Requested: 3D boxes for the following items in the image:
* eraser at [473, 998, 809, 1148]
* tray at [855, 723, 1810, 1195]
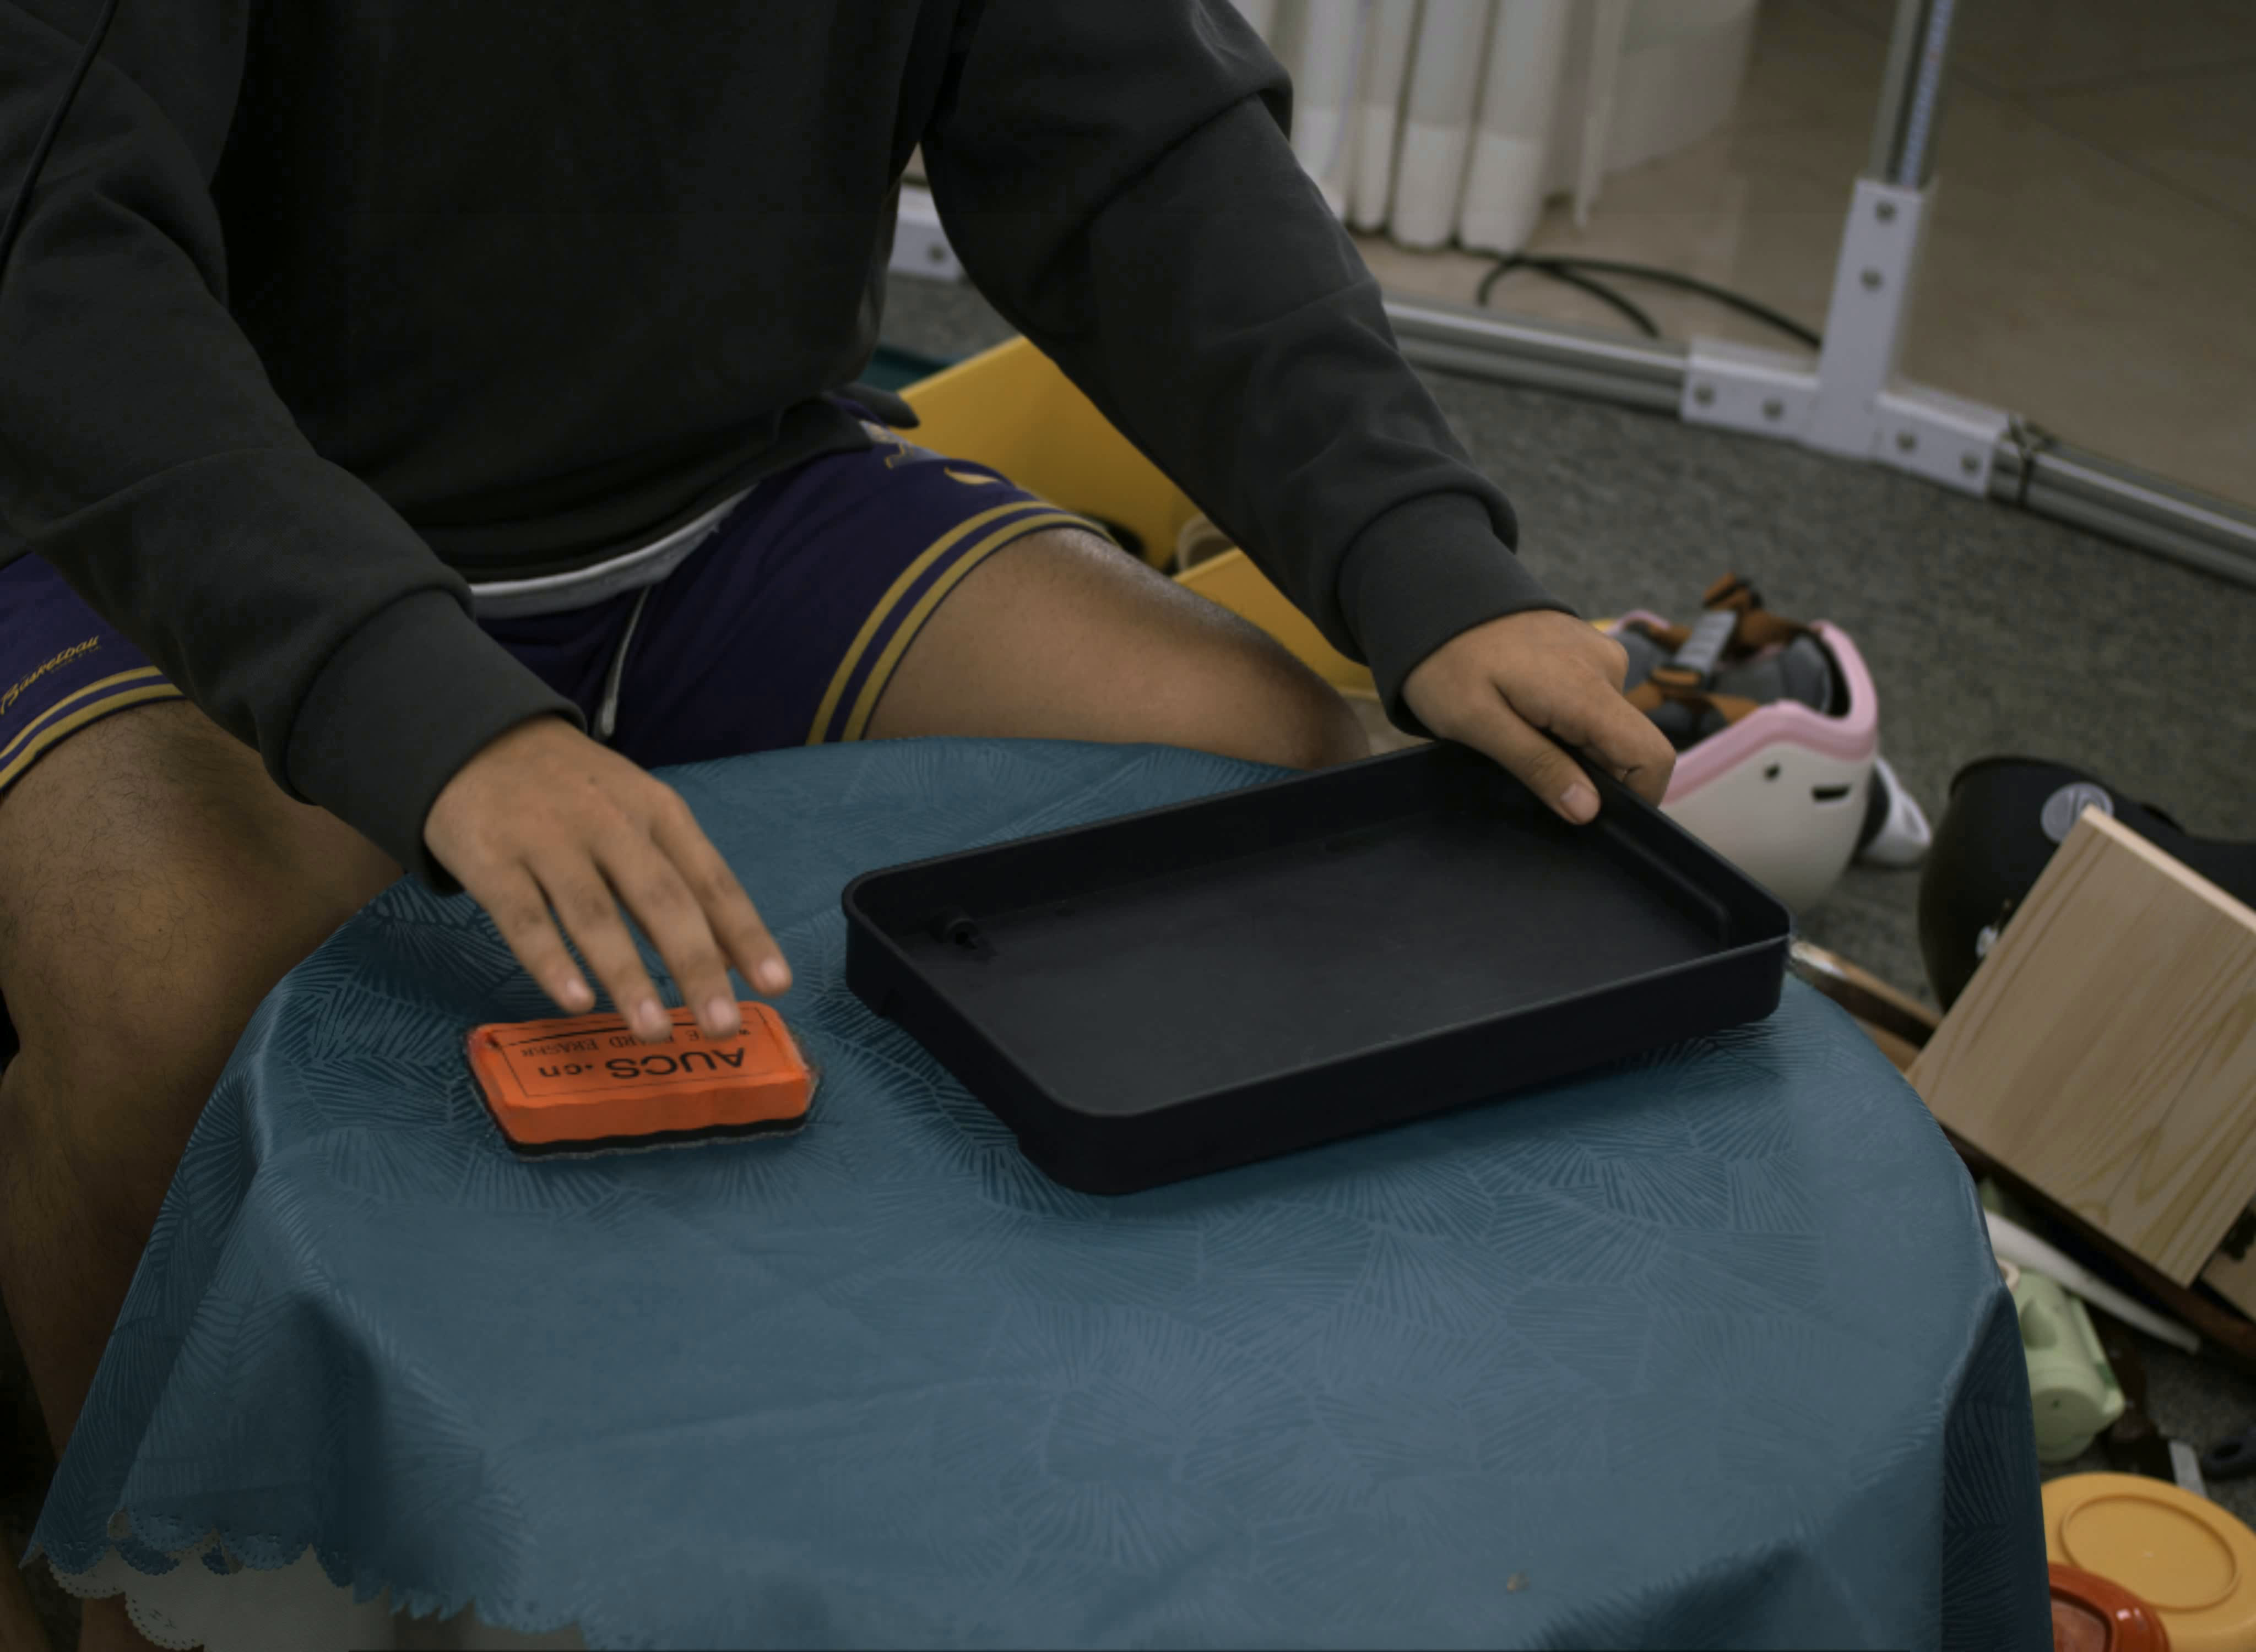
[{"bbox_3d":[-0.166,0.084,1.810,0.107,0.023,0.059,-6,22,-21],"label":"eraser"},{"bbox_3d":[0.074,0.043,1.925,0.316,0.037,0.186,-14,33,-30],"label":"tray"}]
